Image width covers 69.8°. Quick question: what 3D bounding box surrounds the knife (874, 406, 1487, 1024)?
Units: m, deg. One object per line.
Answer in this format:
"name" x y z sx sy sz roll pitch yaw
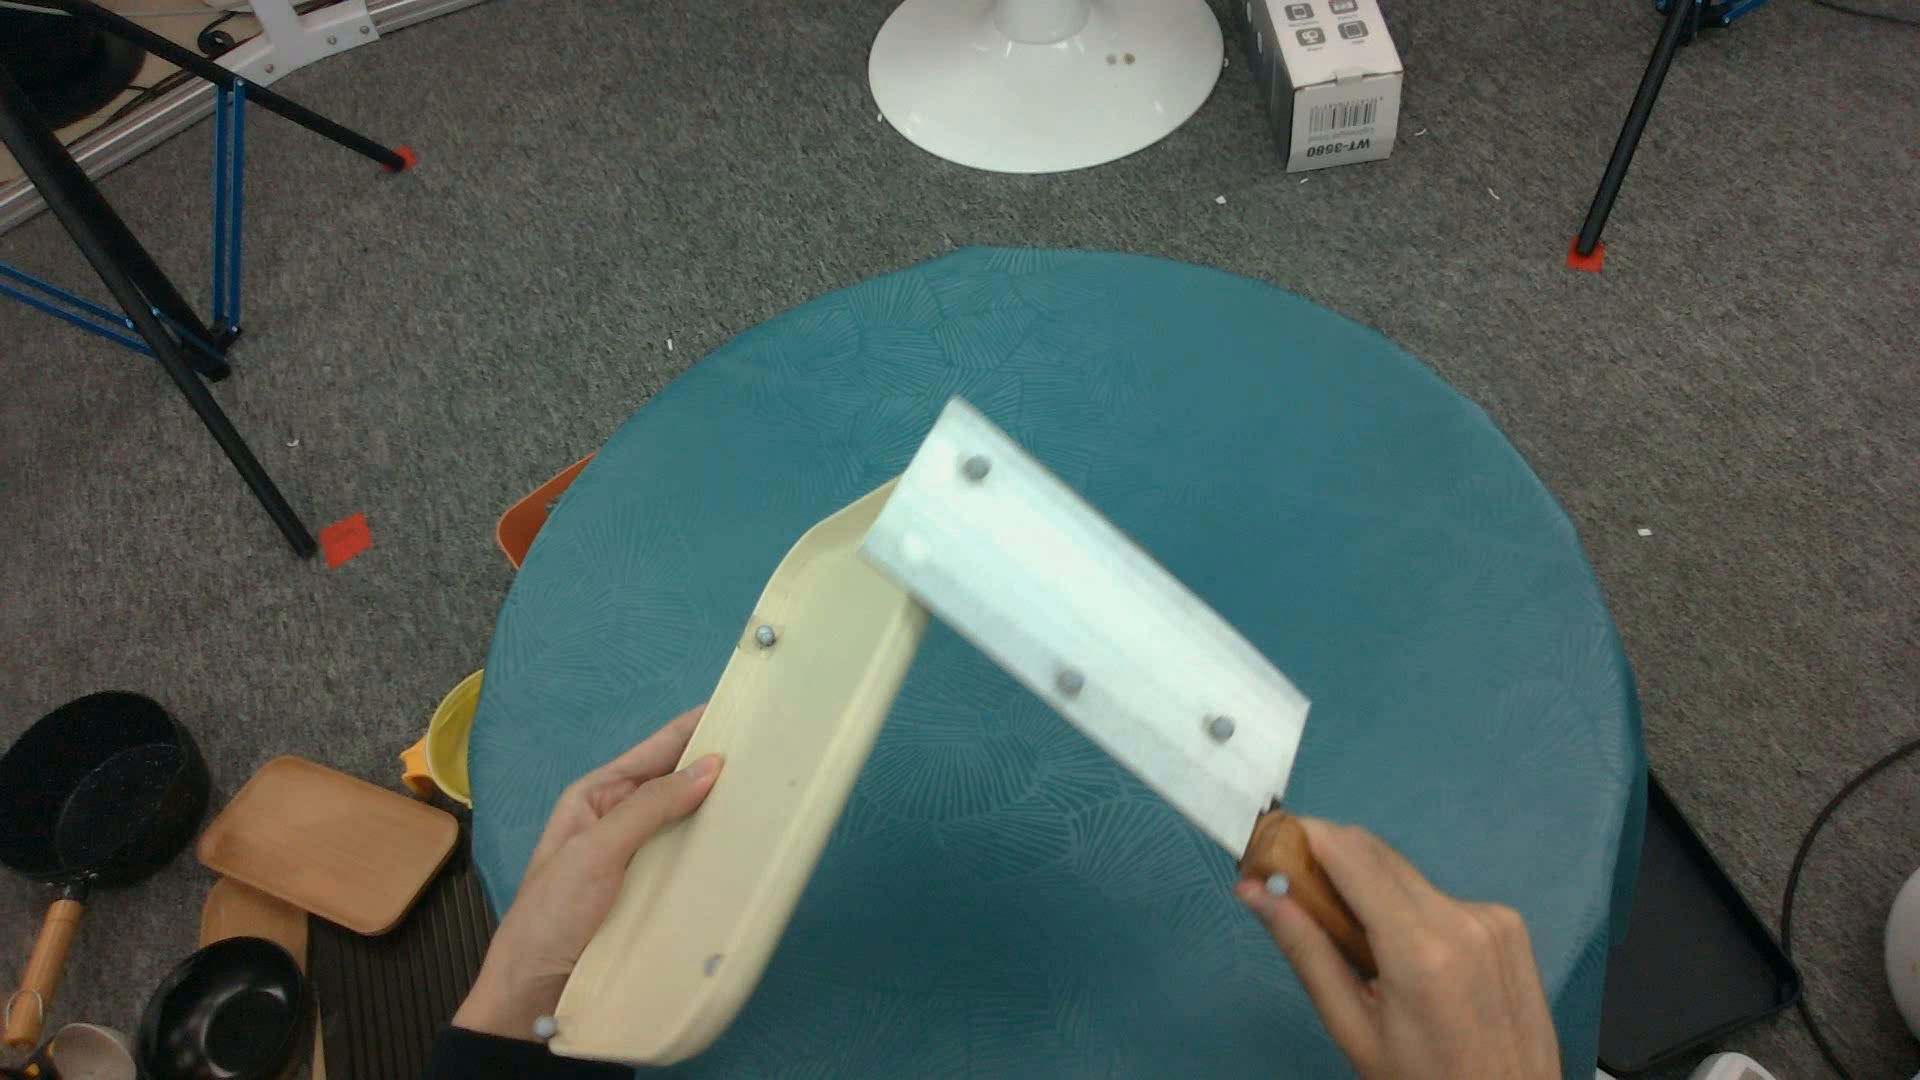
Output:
"knife" 0.096 0.063 0.517 0.305 0.021 0.093 41 46 -12

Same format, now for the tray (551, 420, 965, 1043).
"tray" -0.073 0.071 0.516 0.017 0.170 0.241 33 59 -19
